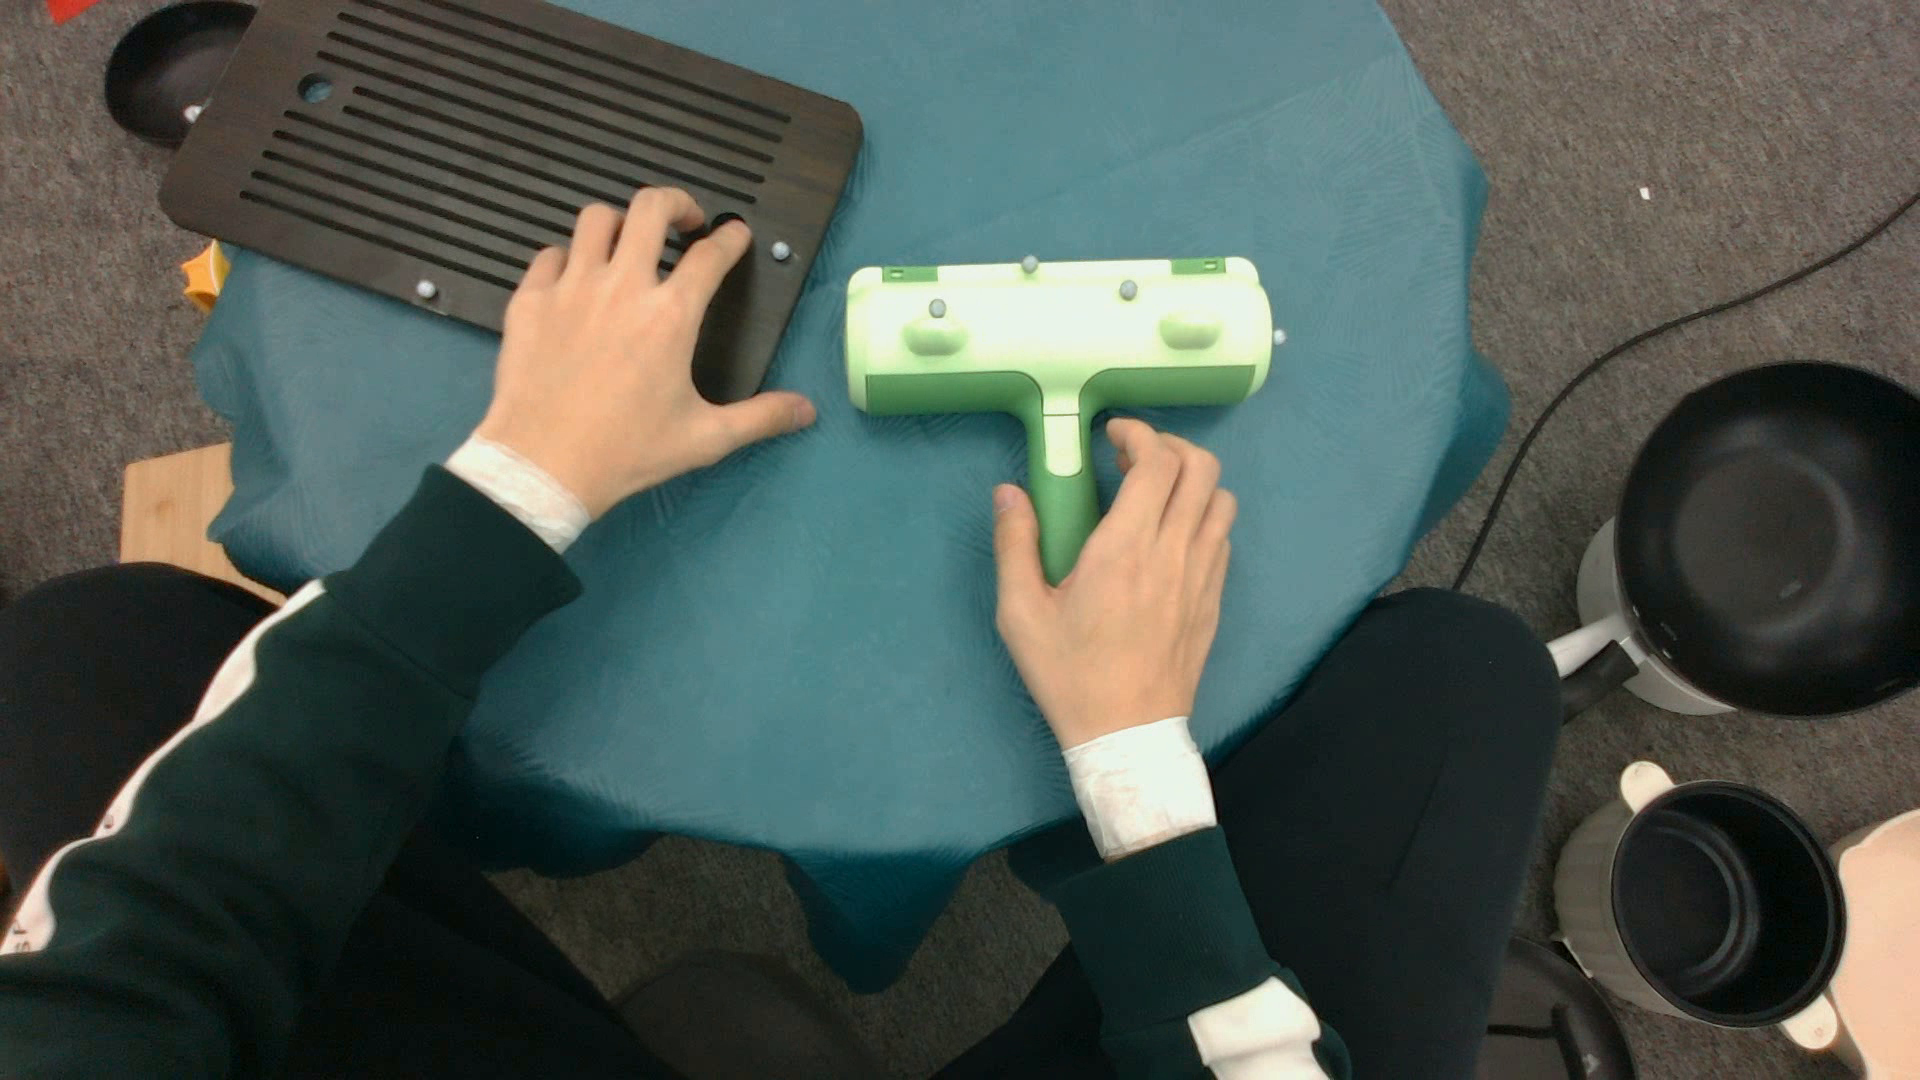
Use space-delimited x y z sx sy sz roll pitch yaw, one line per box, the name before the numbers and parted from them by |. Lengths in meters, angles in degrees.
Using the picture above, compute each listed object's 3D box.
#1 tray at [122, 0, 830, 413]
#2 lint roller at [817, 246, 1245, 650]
tray | -0.231 -0.177 0.673 0.306 0.018 0.170 17 75 2
lint roller | 0.037 -0.047 0.622 0.199 0.082 0.184 -3 73 -5
